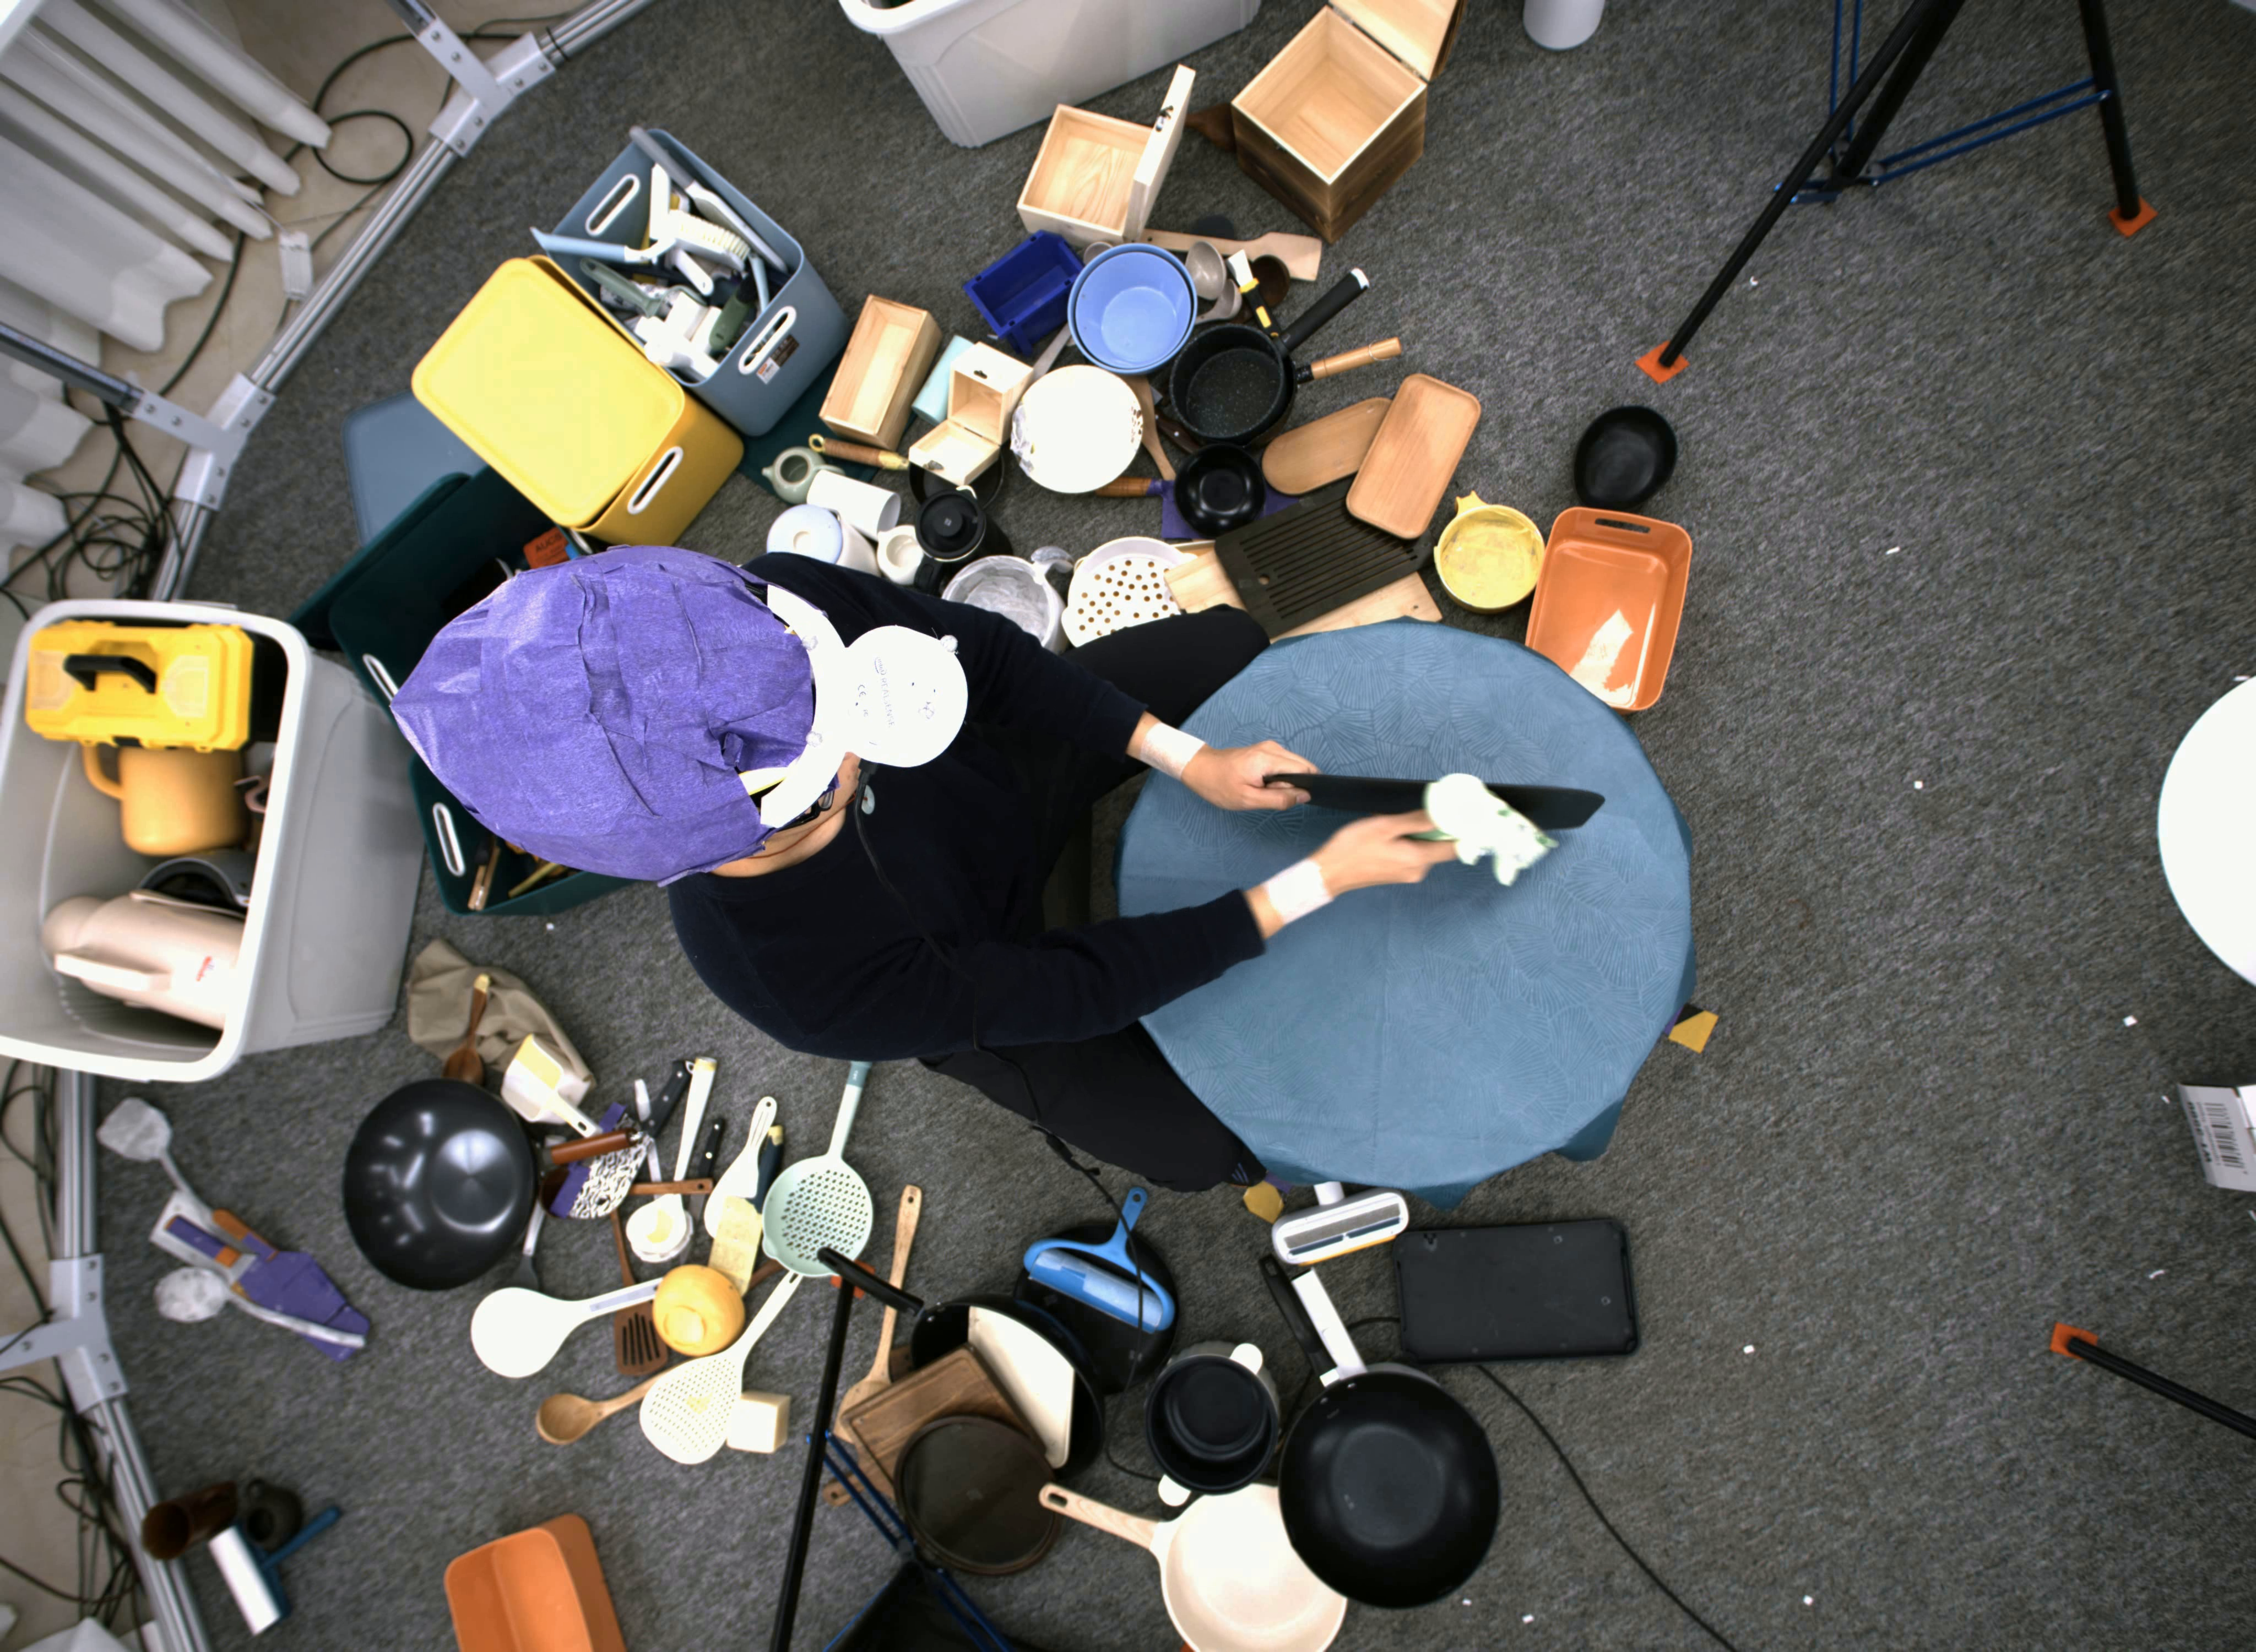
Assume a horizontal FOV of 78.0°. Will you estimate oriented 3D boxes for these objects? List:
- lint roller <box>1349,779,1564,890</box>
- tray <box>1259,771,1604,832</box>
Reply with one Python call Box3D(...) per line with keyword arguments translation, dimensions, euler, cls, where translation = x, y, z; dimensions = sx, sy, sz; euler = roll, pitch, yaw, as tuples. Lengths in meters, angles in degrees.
Box3D(translation=(0.299, 0.023, 1.300), dimensions=(0.186, 0.199, 0.081), euler=(-19, 69, 28), cls="lint roller")
Box3D(translation=(0.291, -0.026, 1.353), dimensions=(0.326, 0.212, 0.010), euler=(4, 81, 11), cls="tray")
